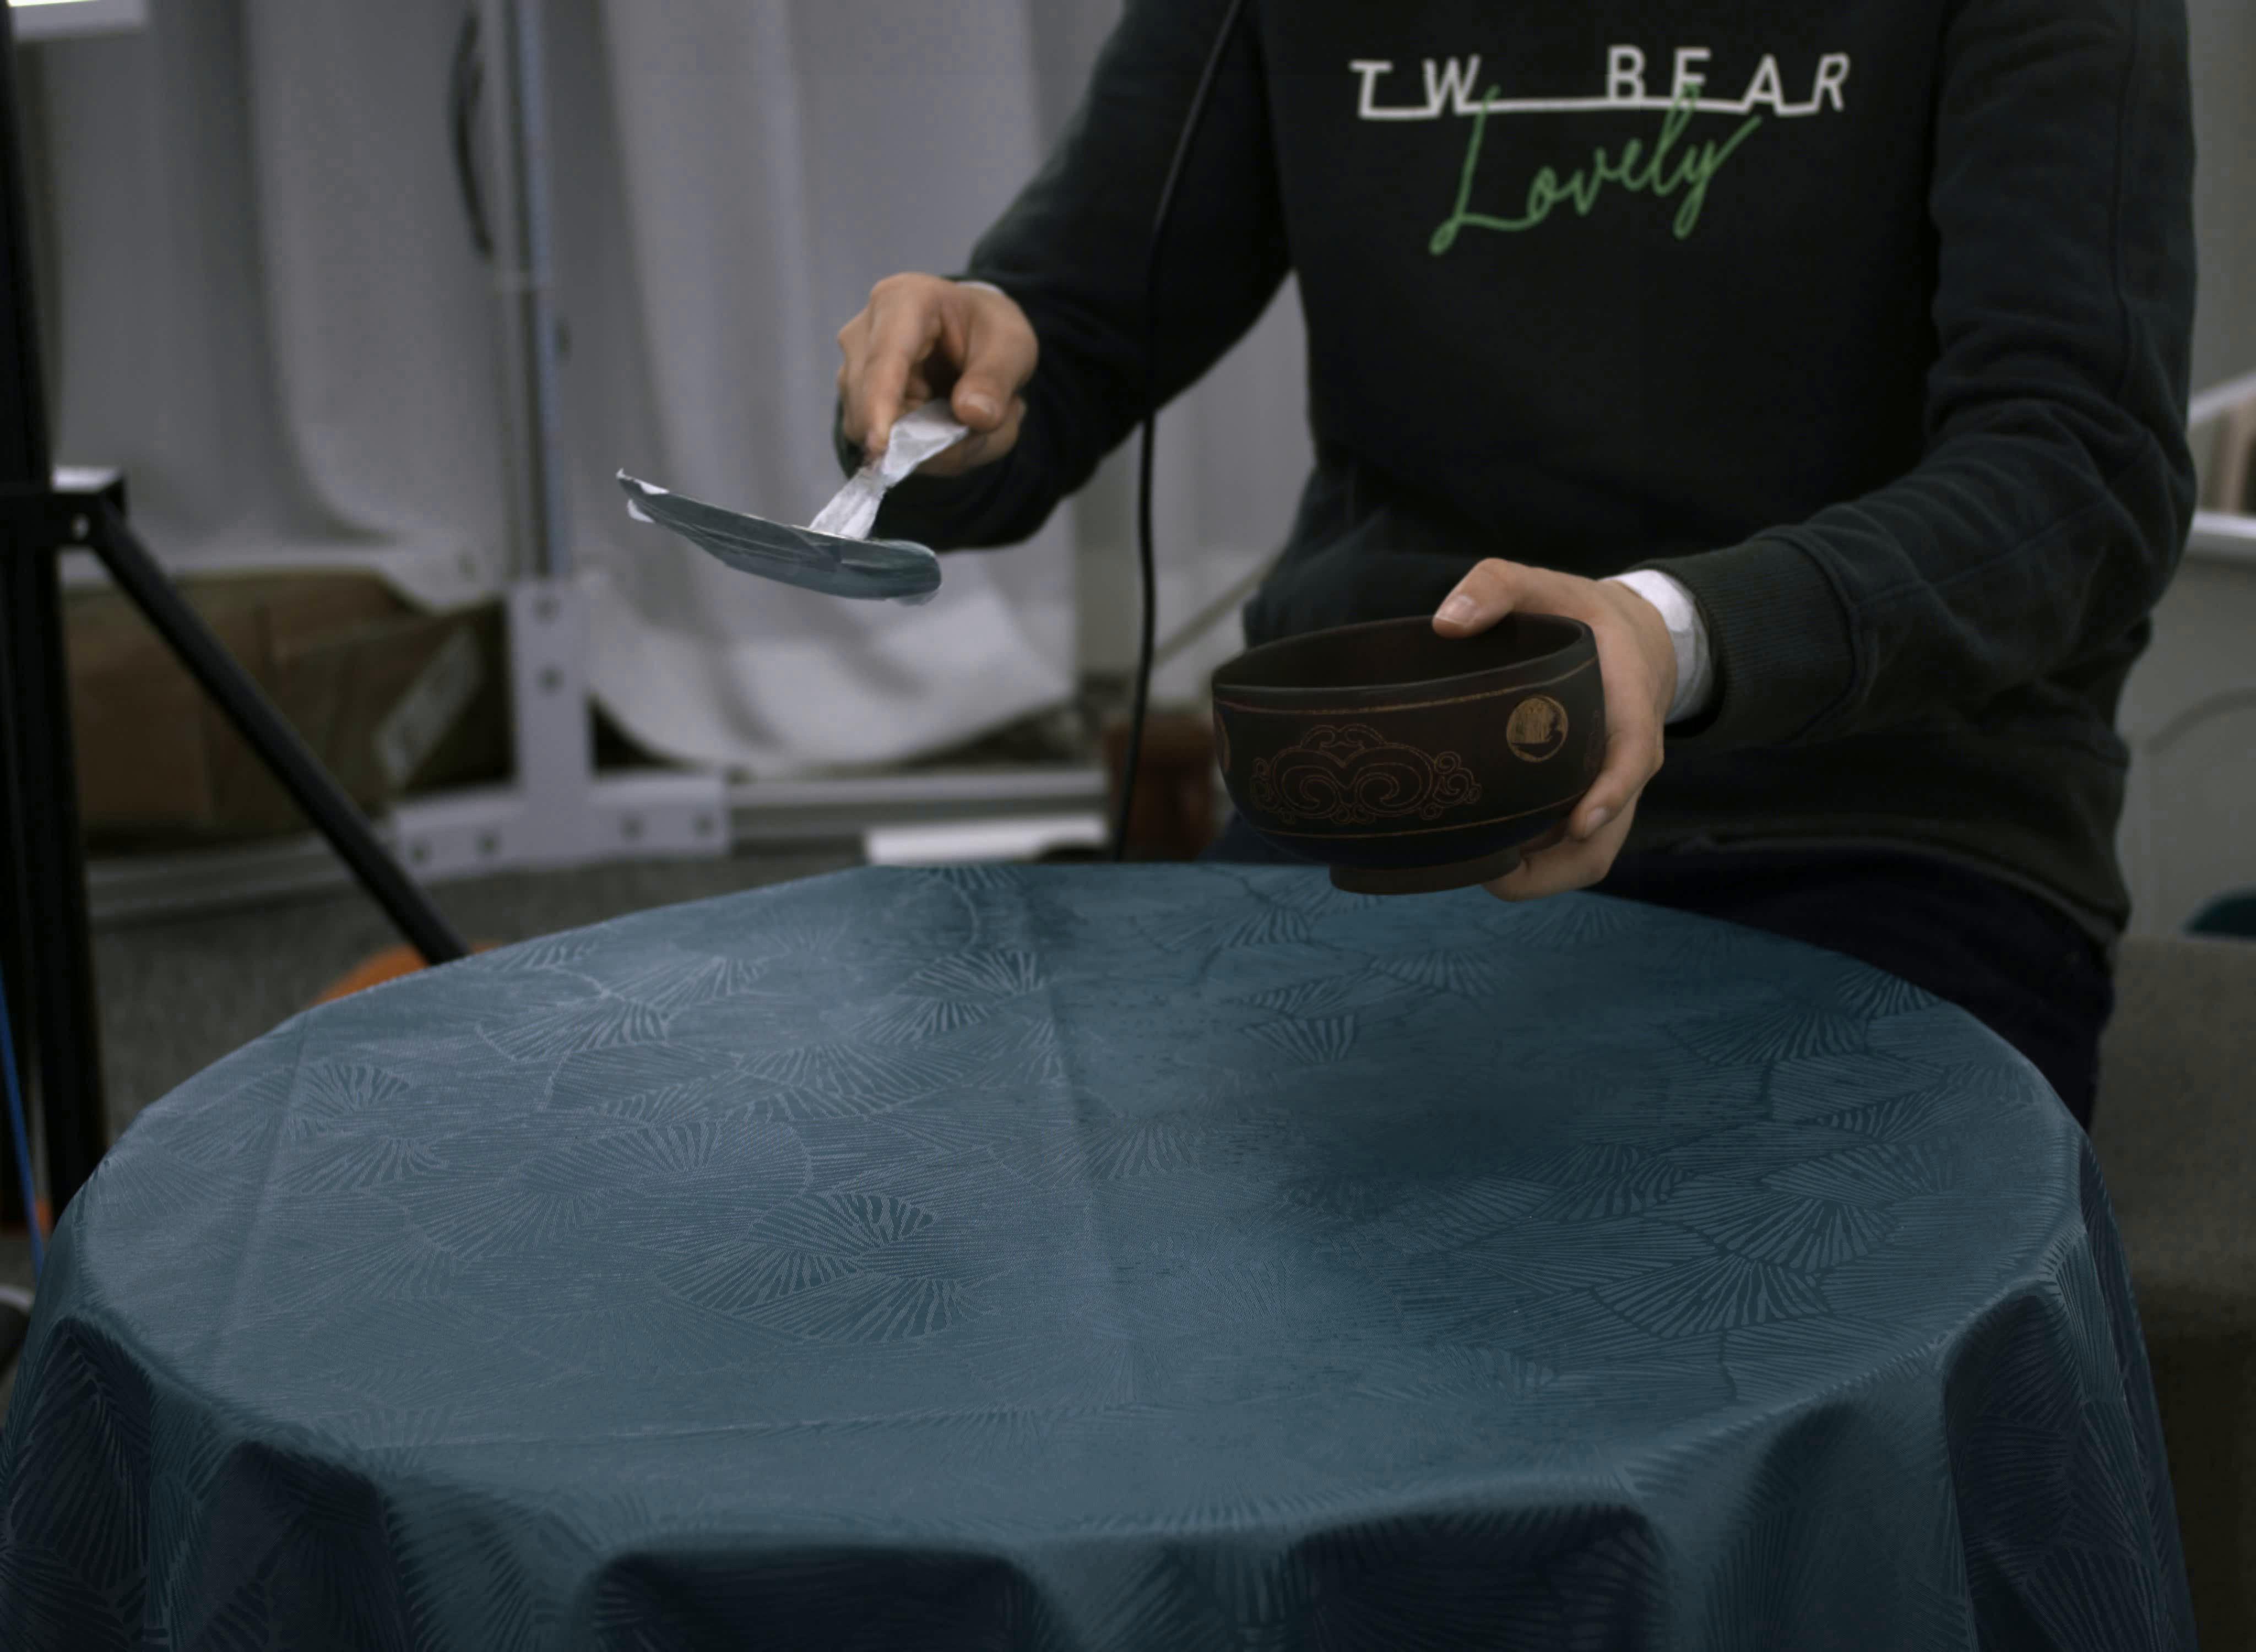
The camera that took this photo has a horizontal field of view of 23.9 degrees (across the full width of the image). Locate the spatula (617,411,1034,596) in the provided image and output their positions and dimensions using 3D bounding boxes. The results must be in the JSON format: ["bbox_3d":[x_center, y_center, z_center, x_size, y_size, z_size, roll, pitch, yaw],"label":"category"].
[{"bbox_3d":[-0.075,-0.115,1.707,0.099,0.045,0.363,12,16,8],"label":"spatula"}]

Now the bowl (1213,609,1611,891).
[{"bbox_3d":[0.085,-0.020,1.577,0.117,0.070,0.118,-5,11,0],"label":"bowl"}]
